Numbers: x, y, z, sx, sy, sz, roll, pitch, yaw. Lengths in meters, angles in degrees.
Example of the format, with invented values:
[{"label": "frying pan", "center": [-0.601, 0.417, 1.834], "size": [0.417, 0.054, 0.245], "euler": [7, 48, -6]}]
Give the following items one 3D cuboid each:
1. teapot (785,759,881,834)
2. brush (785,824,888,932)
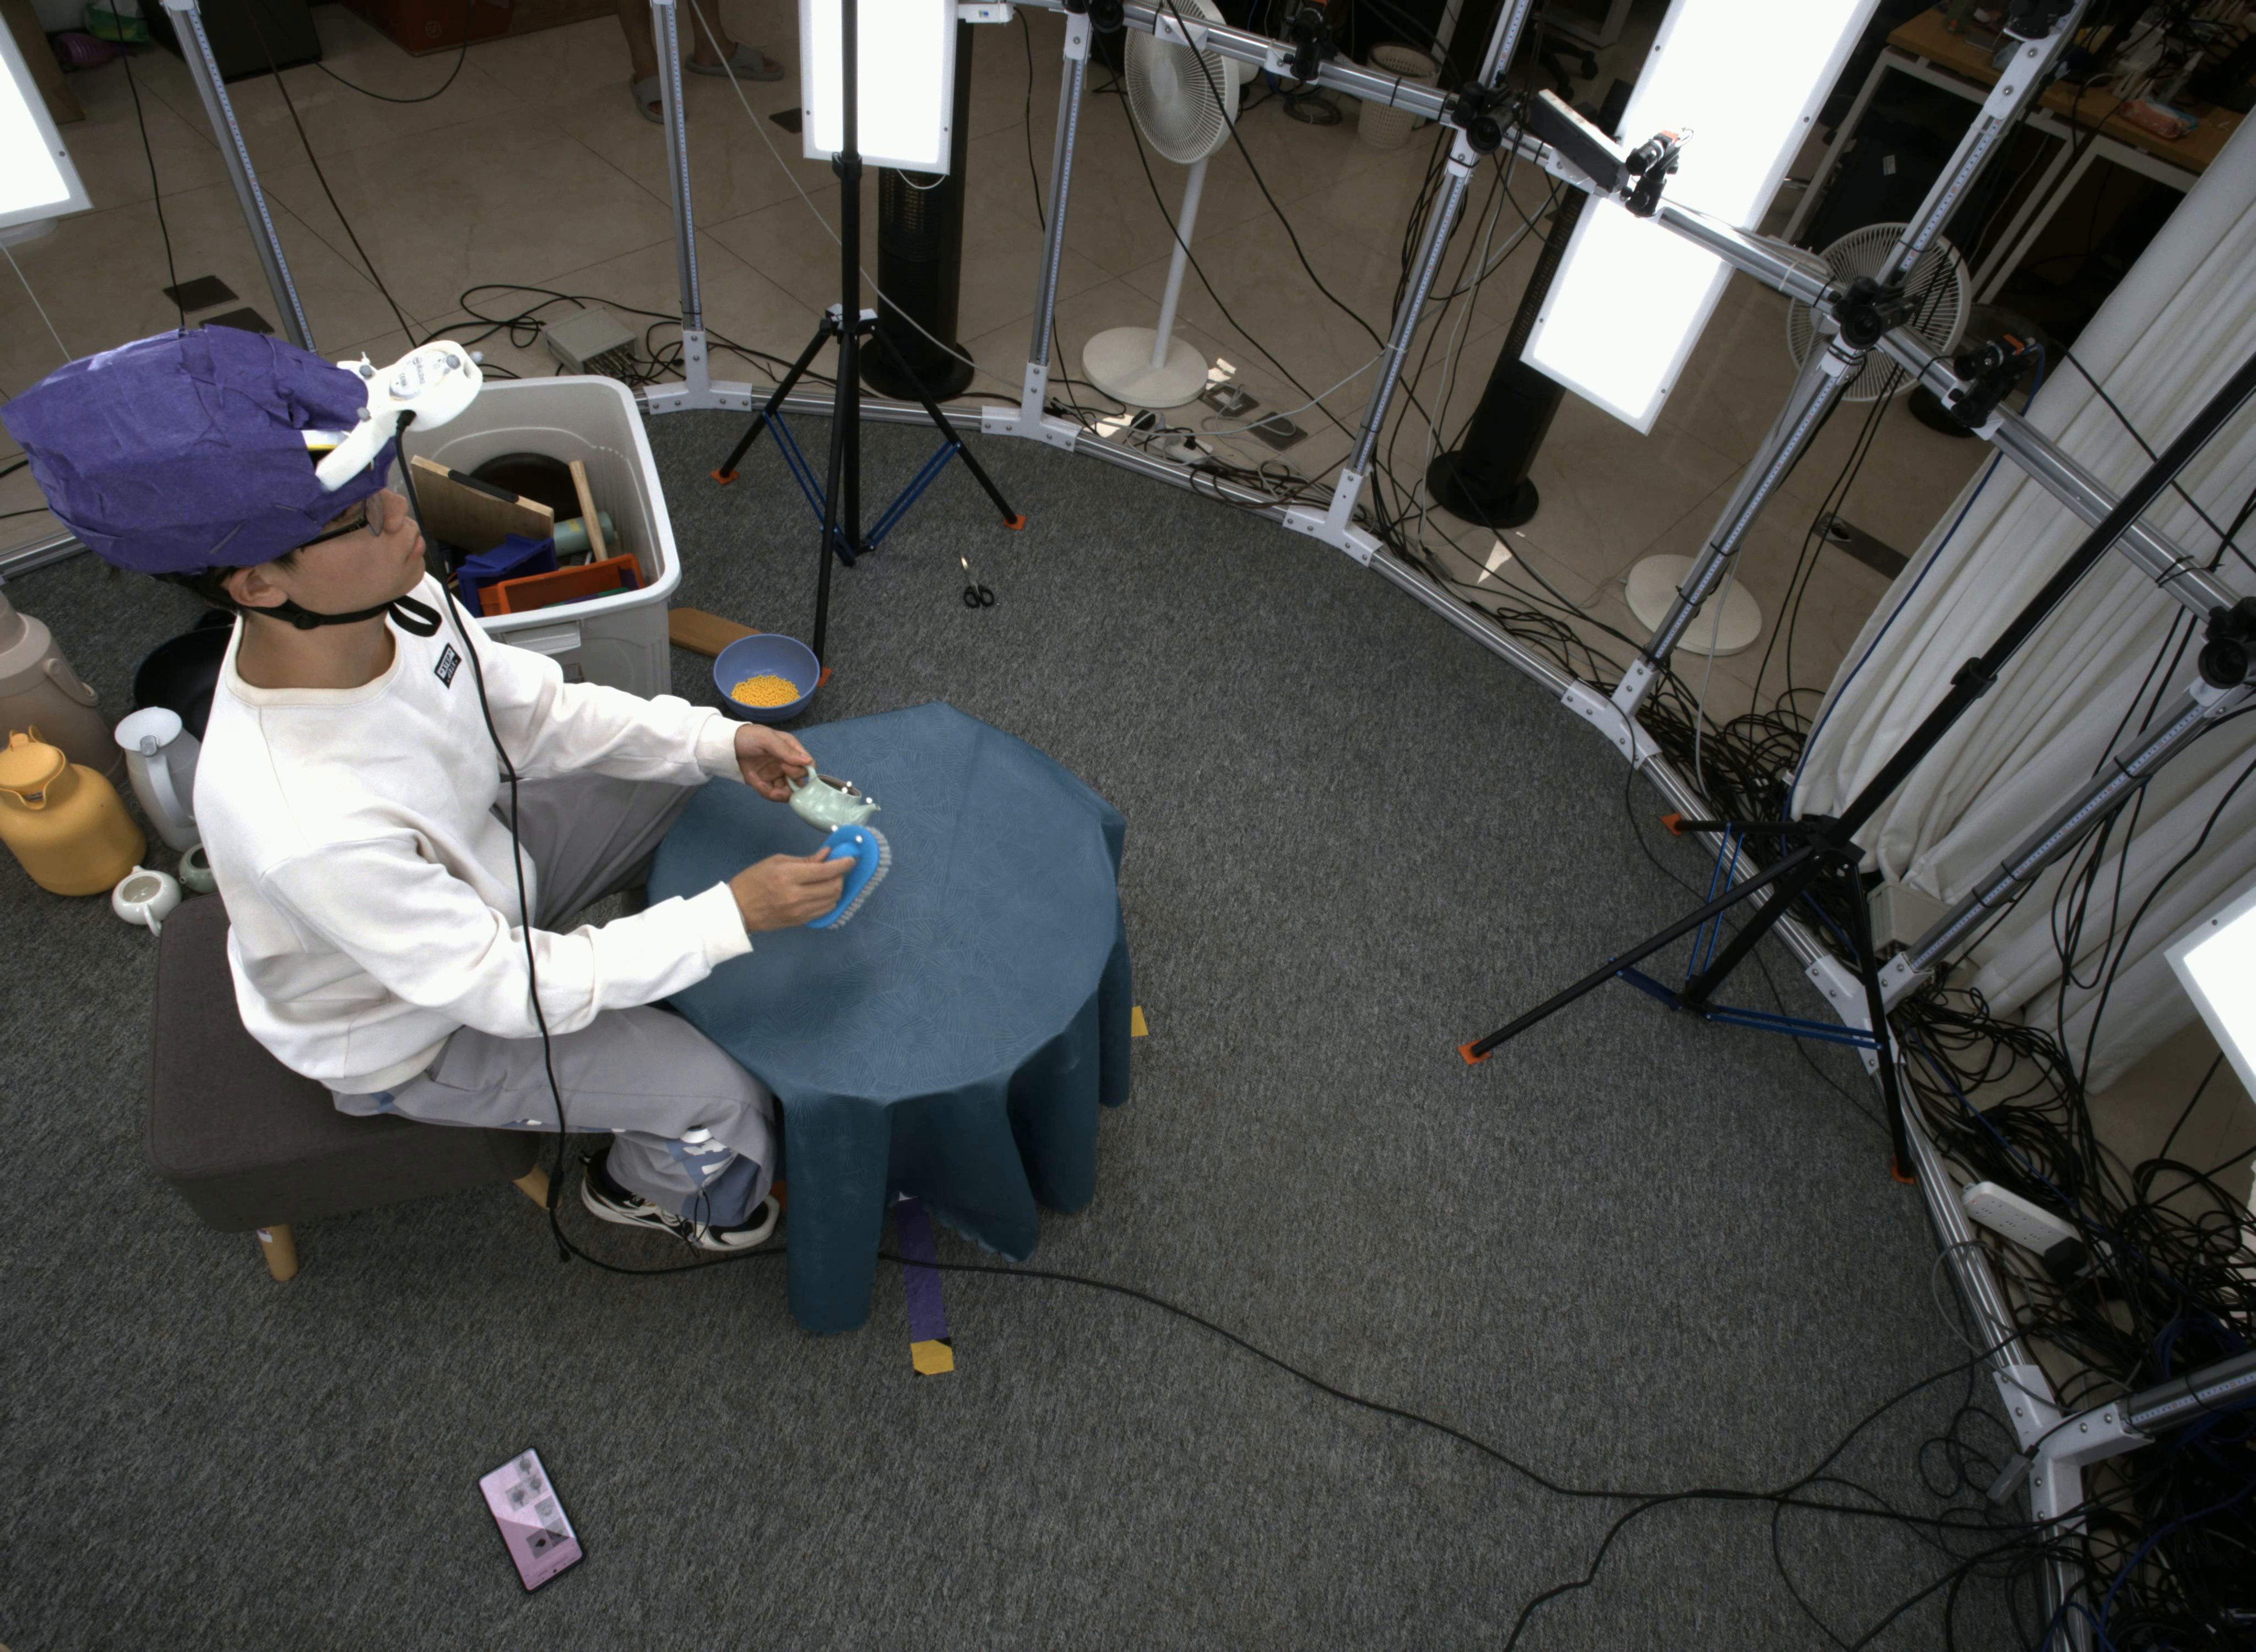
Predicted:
[{"label": "teapot", "center": [-0.377, -0.031, 1.623], "size": [0.134, 0.062, 0.097], "euler": [30, 11, 10]}, {"label": "brush", "center": [-0.347, 0.062, 1.522], "size": [0.083, 0.064, 0.142], "euler": [43, 100, 9]}]
